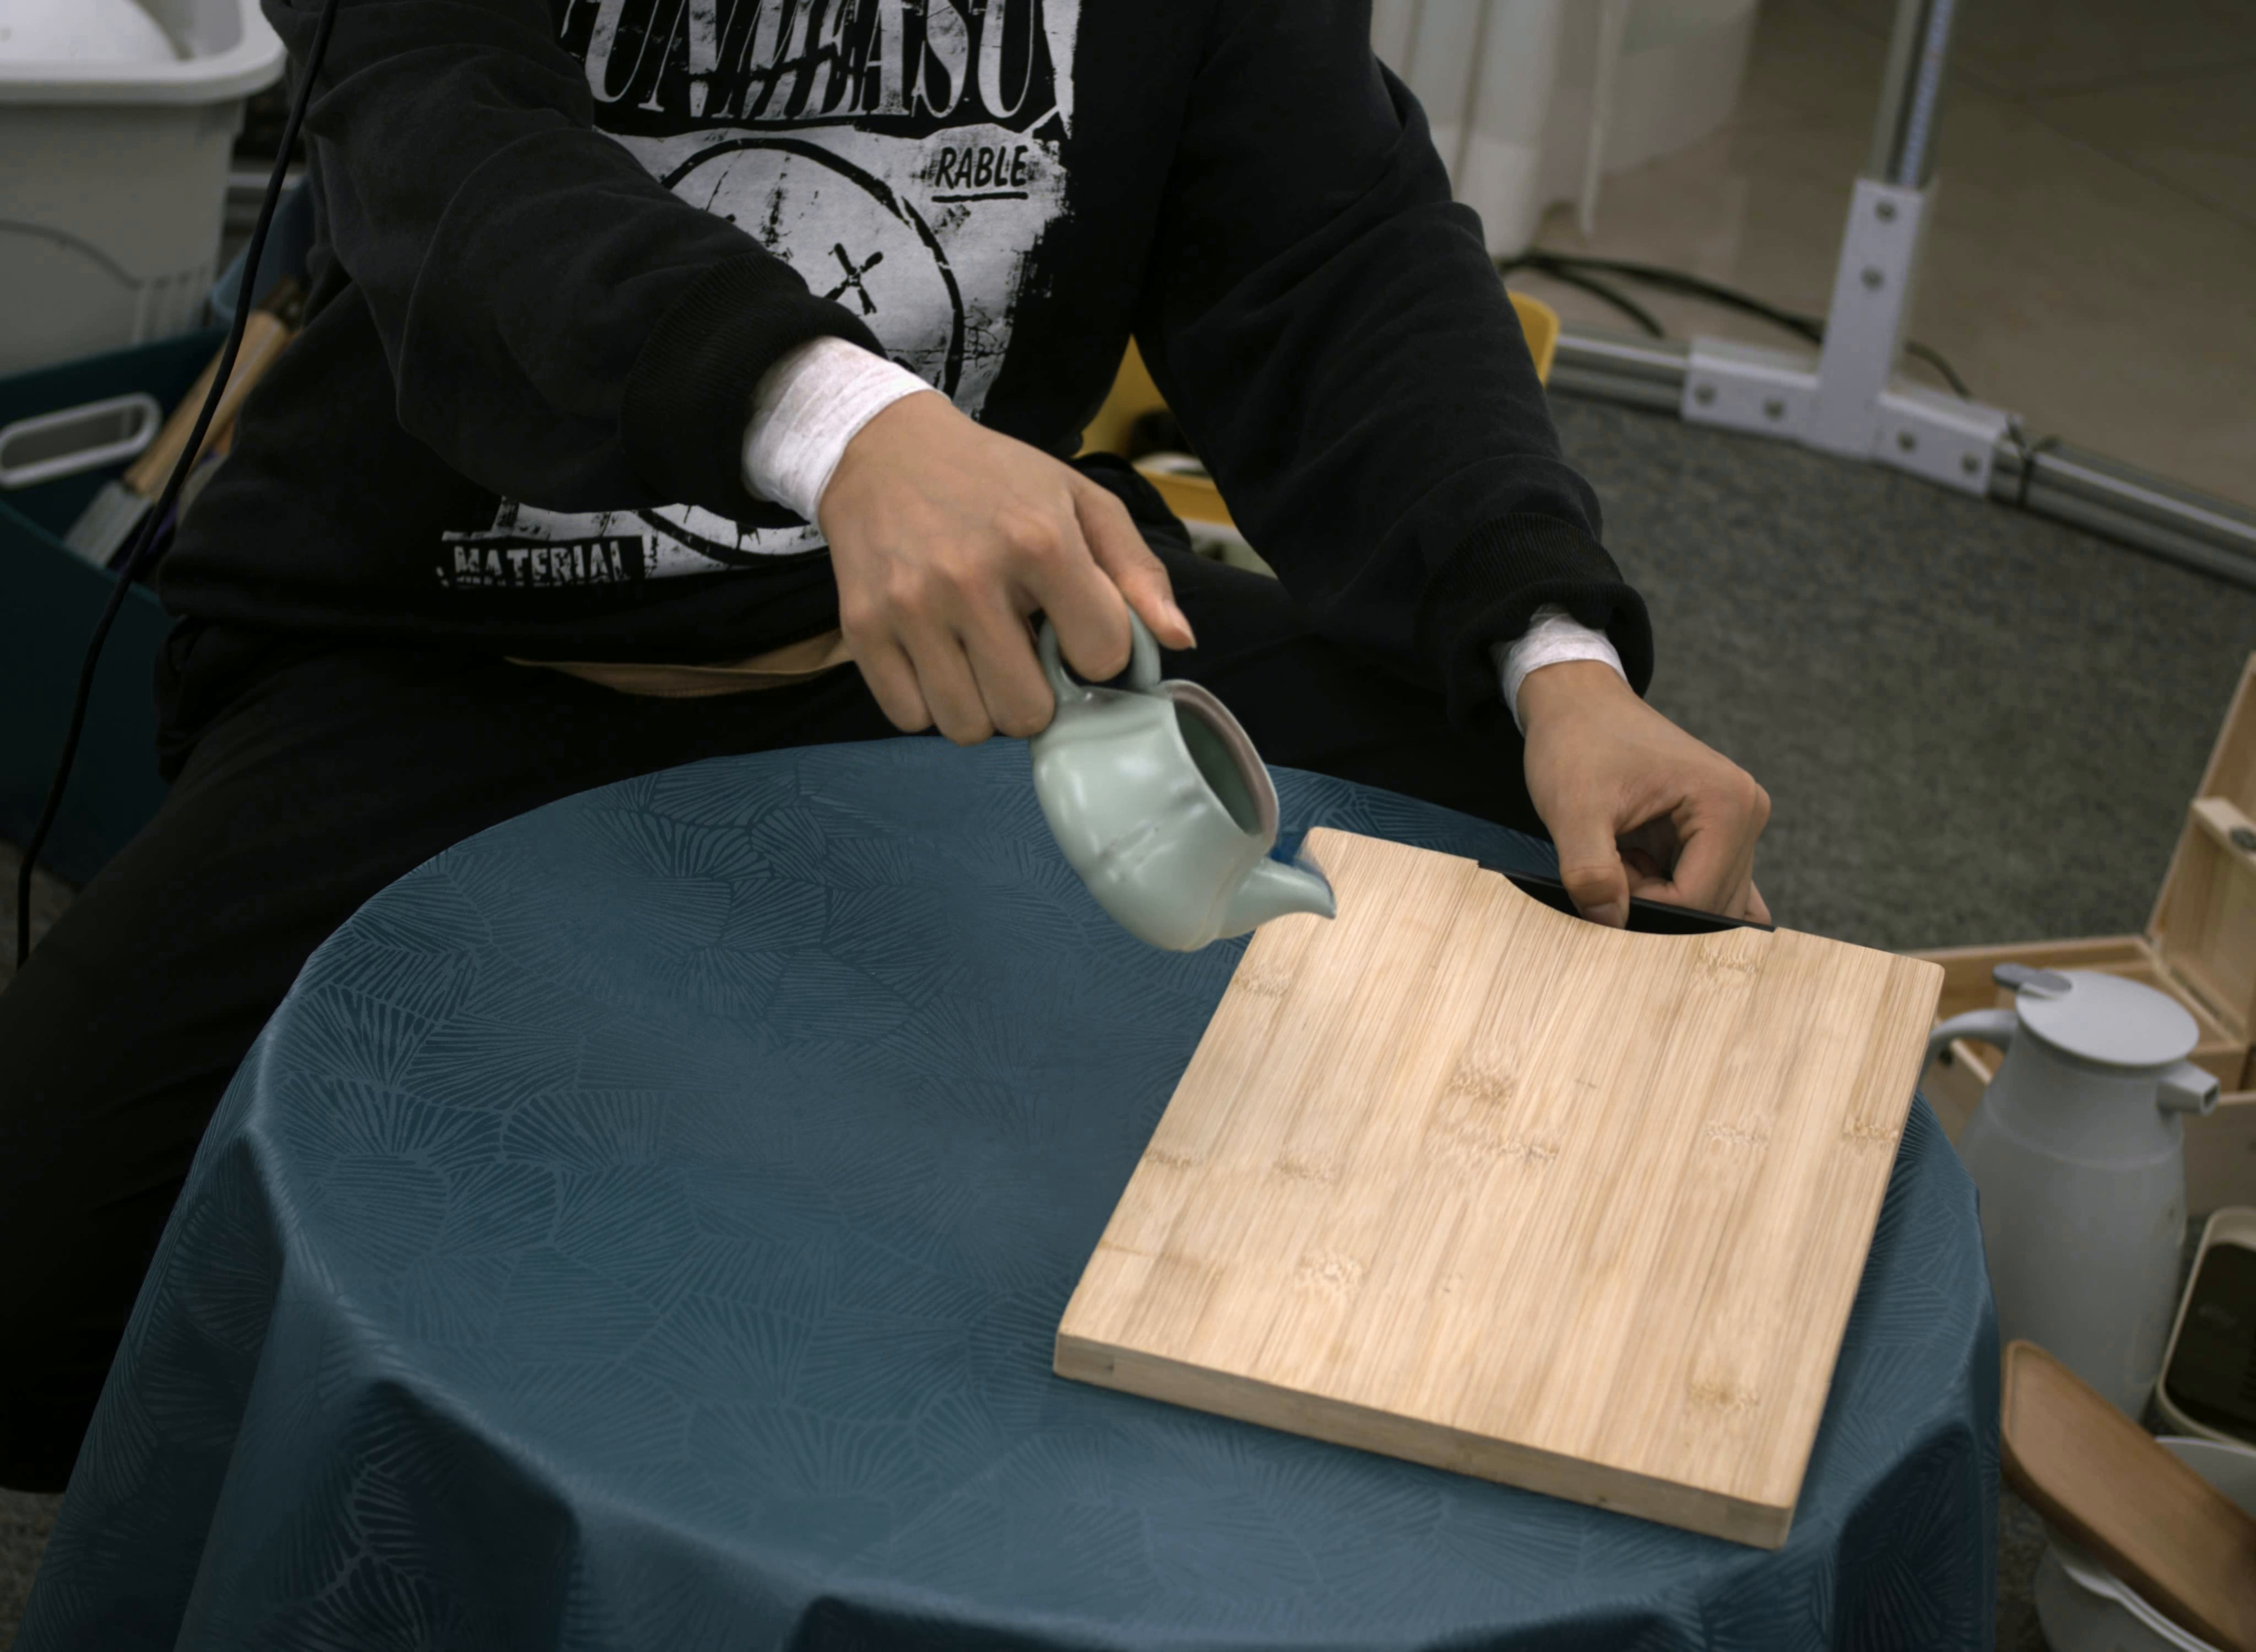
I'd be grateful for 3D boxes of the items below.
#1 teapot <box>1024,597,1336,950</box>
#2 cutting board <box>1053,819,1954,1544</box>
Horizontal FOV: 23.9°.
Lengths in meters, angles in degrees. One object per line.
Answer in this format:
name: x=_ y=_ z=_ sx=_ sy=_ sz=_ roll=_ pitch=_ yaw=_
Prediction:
teapot: x=0.007 y=-0.012 z=1.742 sx=0.061 sy=0.136 sz=0.096 roll=-31 pitch=15 yaw=21
cutting board: x=0.137 y=0.111 z=1.817 sx=0.251 sy=0.023 sz=0.350 roll=12 pitch=31 yaw=10
